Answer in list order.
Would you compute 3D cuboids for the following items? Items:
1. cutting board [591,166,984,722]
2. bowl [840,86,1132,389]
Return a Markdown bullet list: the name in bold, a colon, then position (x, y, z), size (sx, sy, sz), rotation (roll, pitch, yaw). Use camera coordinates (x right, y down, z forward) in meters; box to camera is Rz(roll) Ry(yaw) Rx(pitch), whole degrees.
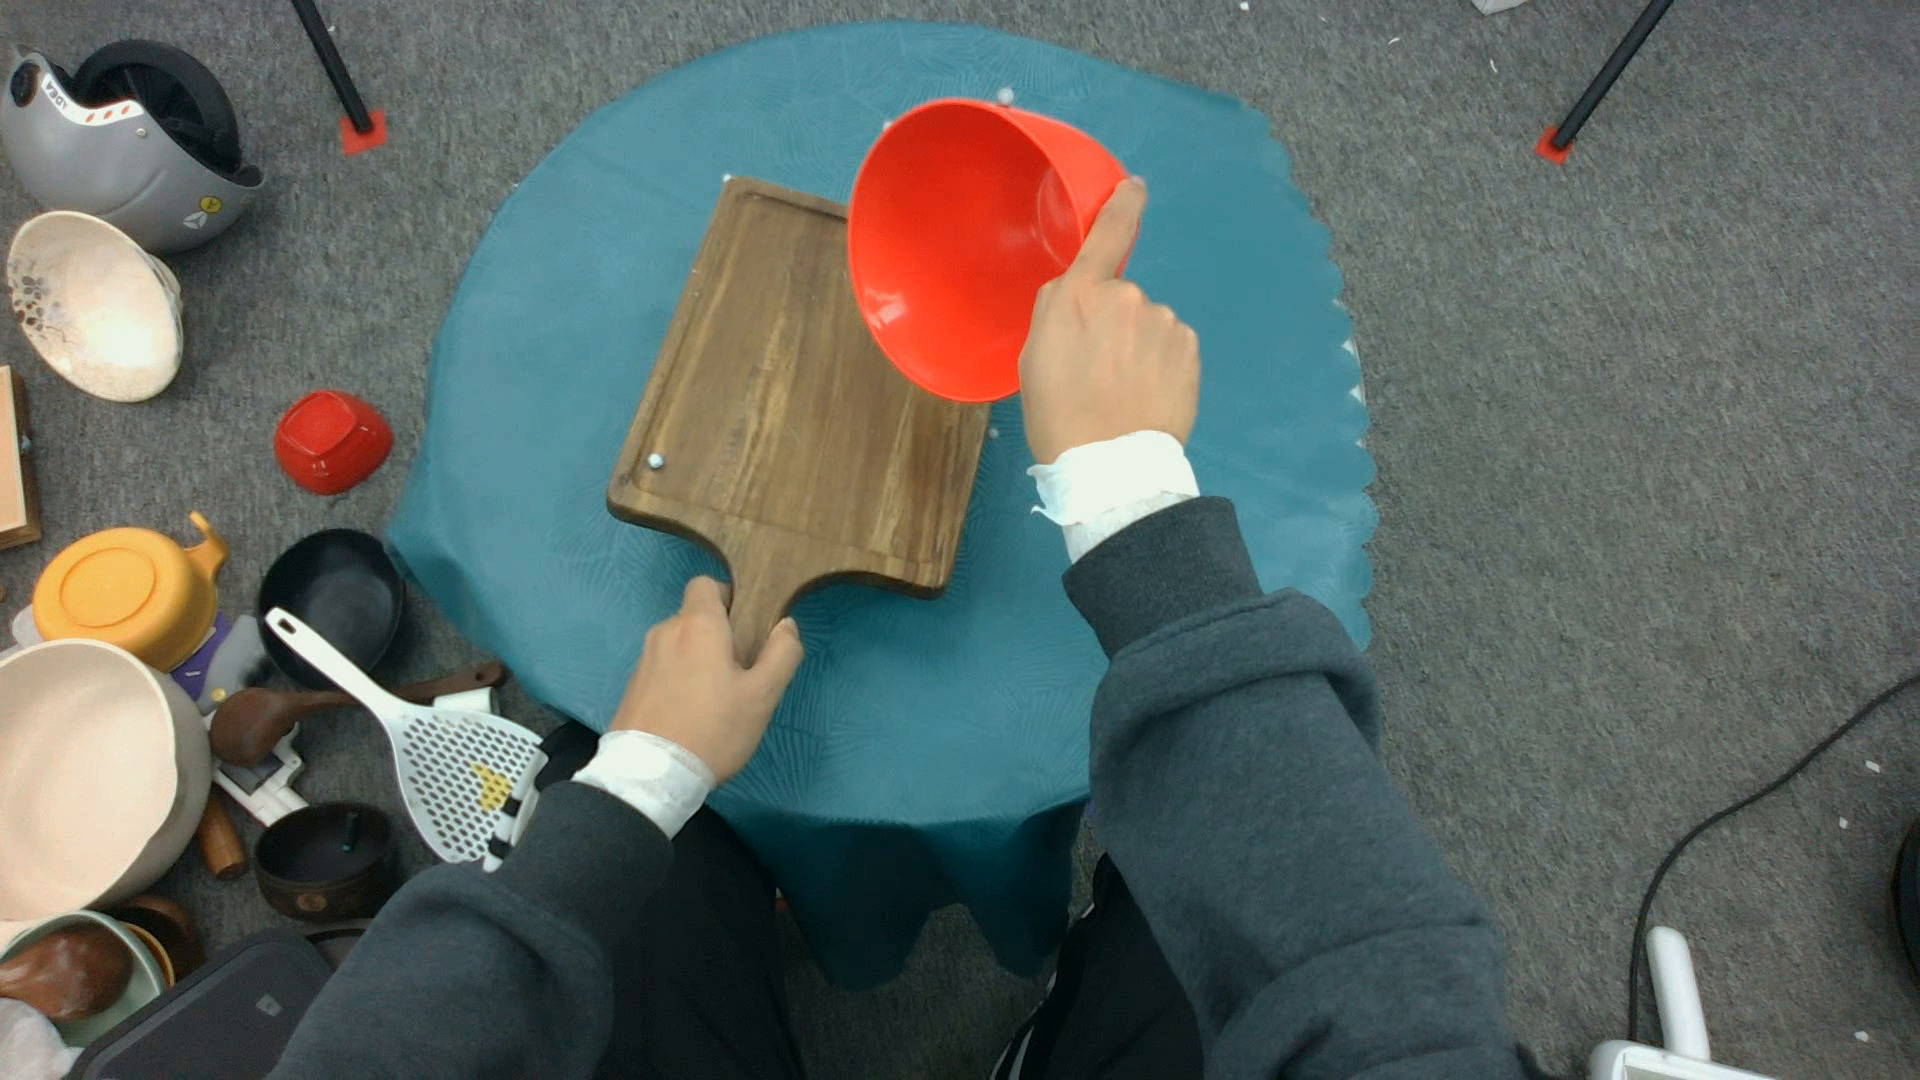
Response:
- **cutting board**: position (-0.095, -0.062, 0.794), size (0.201, 0.023, 0.353), rotation (15, 61, -4)
- **bowl**: position (0.023, -0.161, 0.708), size (0.105, 0.147, 0.148), rotation (-25, 66, -39)
